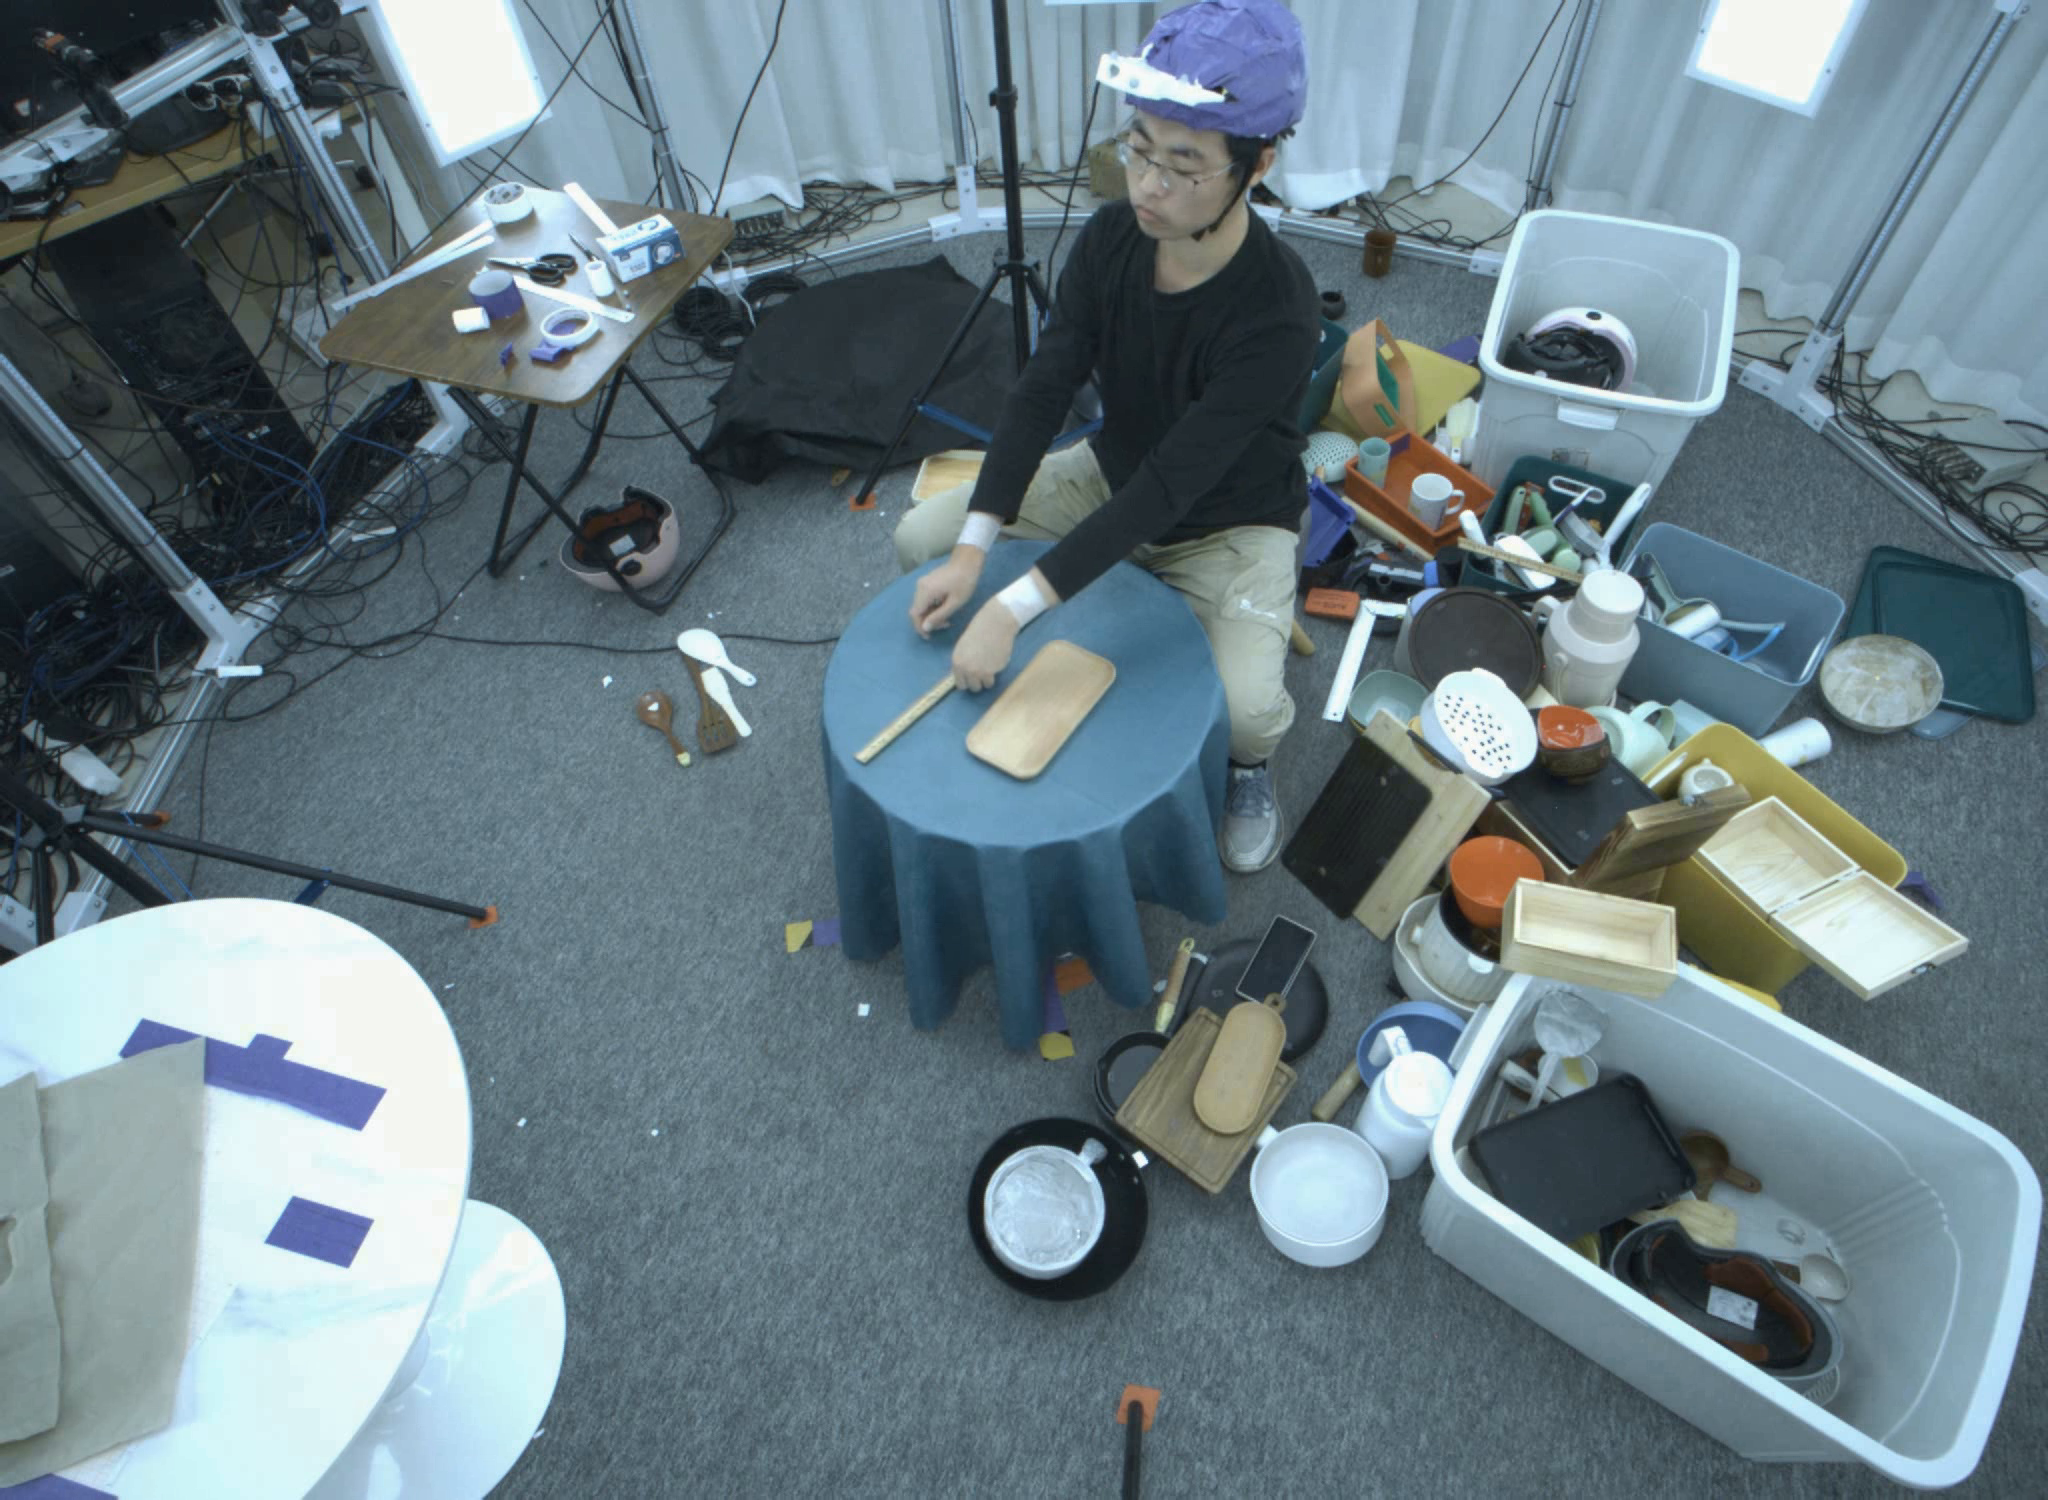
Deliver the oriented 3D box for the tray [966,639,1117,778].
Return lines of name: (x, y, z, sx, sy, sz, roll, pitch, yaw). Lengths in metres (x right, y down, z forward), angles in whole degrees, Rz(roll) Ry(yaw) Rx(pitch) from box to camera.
tray: (0.028, -0.064, 1.822, 0.129, 0.023, 0.252, 30, 60, 18)

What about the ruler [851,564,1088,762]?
ruler: (-0.075, -0.142, 1.884, 0.026, 0.006, 0.503, 31, 61, 33)
